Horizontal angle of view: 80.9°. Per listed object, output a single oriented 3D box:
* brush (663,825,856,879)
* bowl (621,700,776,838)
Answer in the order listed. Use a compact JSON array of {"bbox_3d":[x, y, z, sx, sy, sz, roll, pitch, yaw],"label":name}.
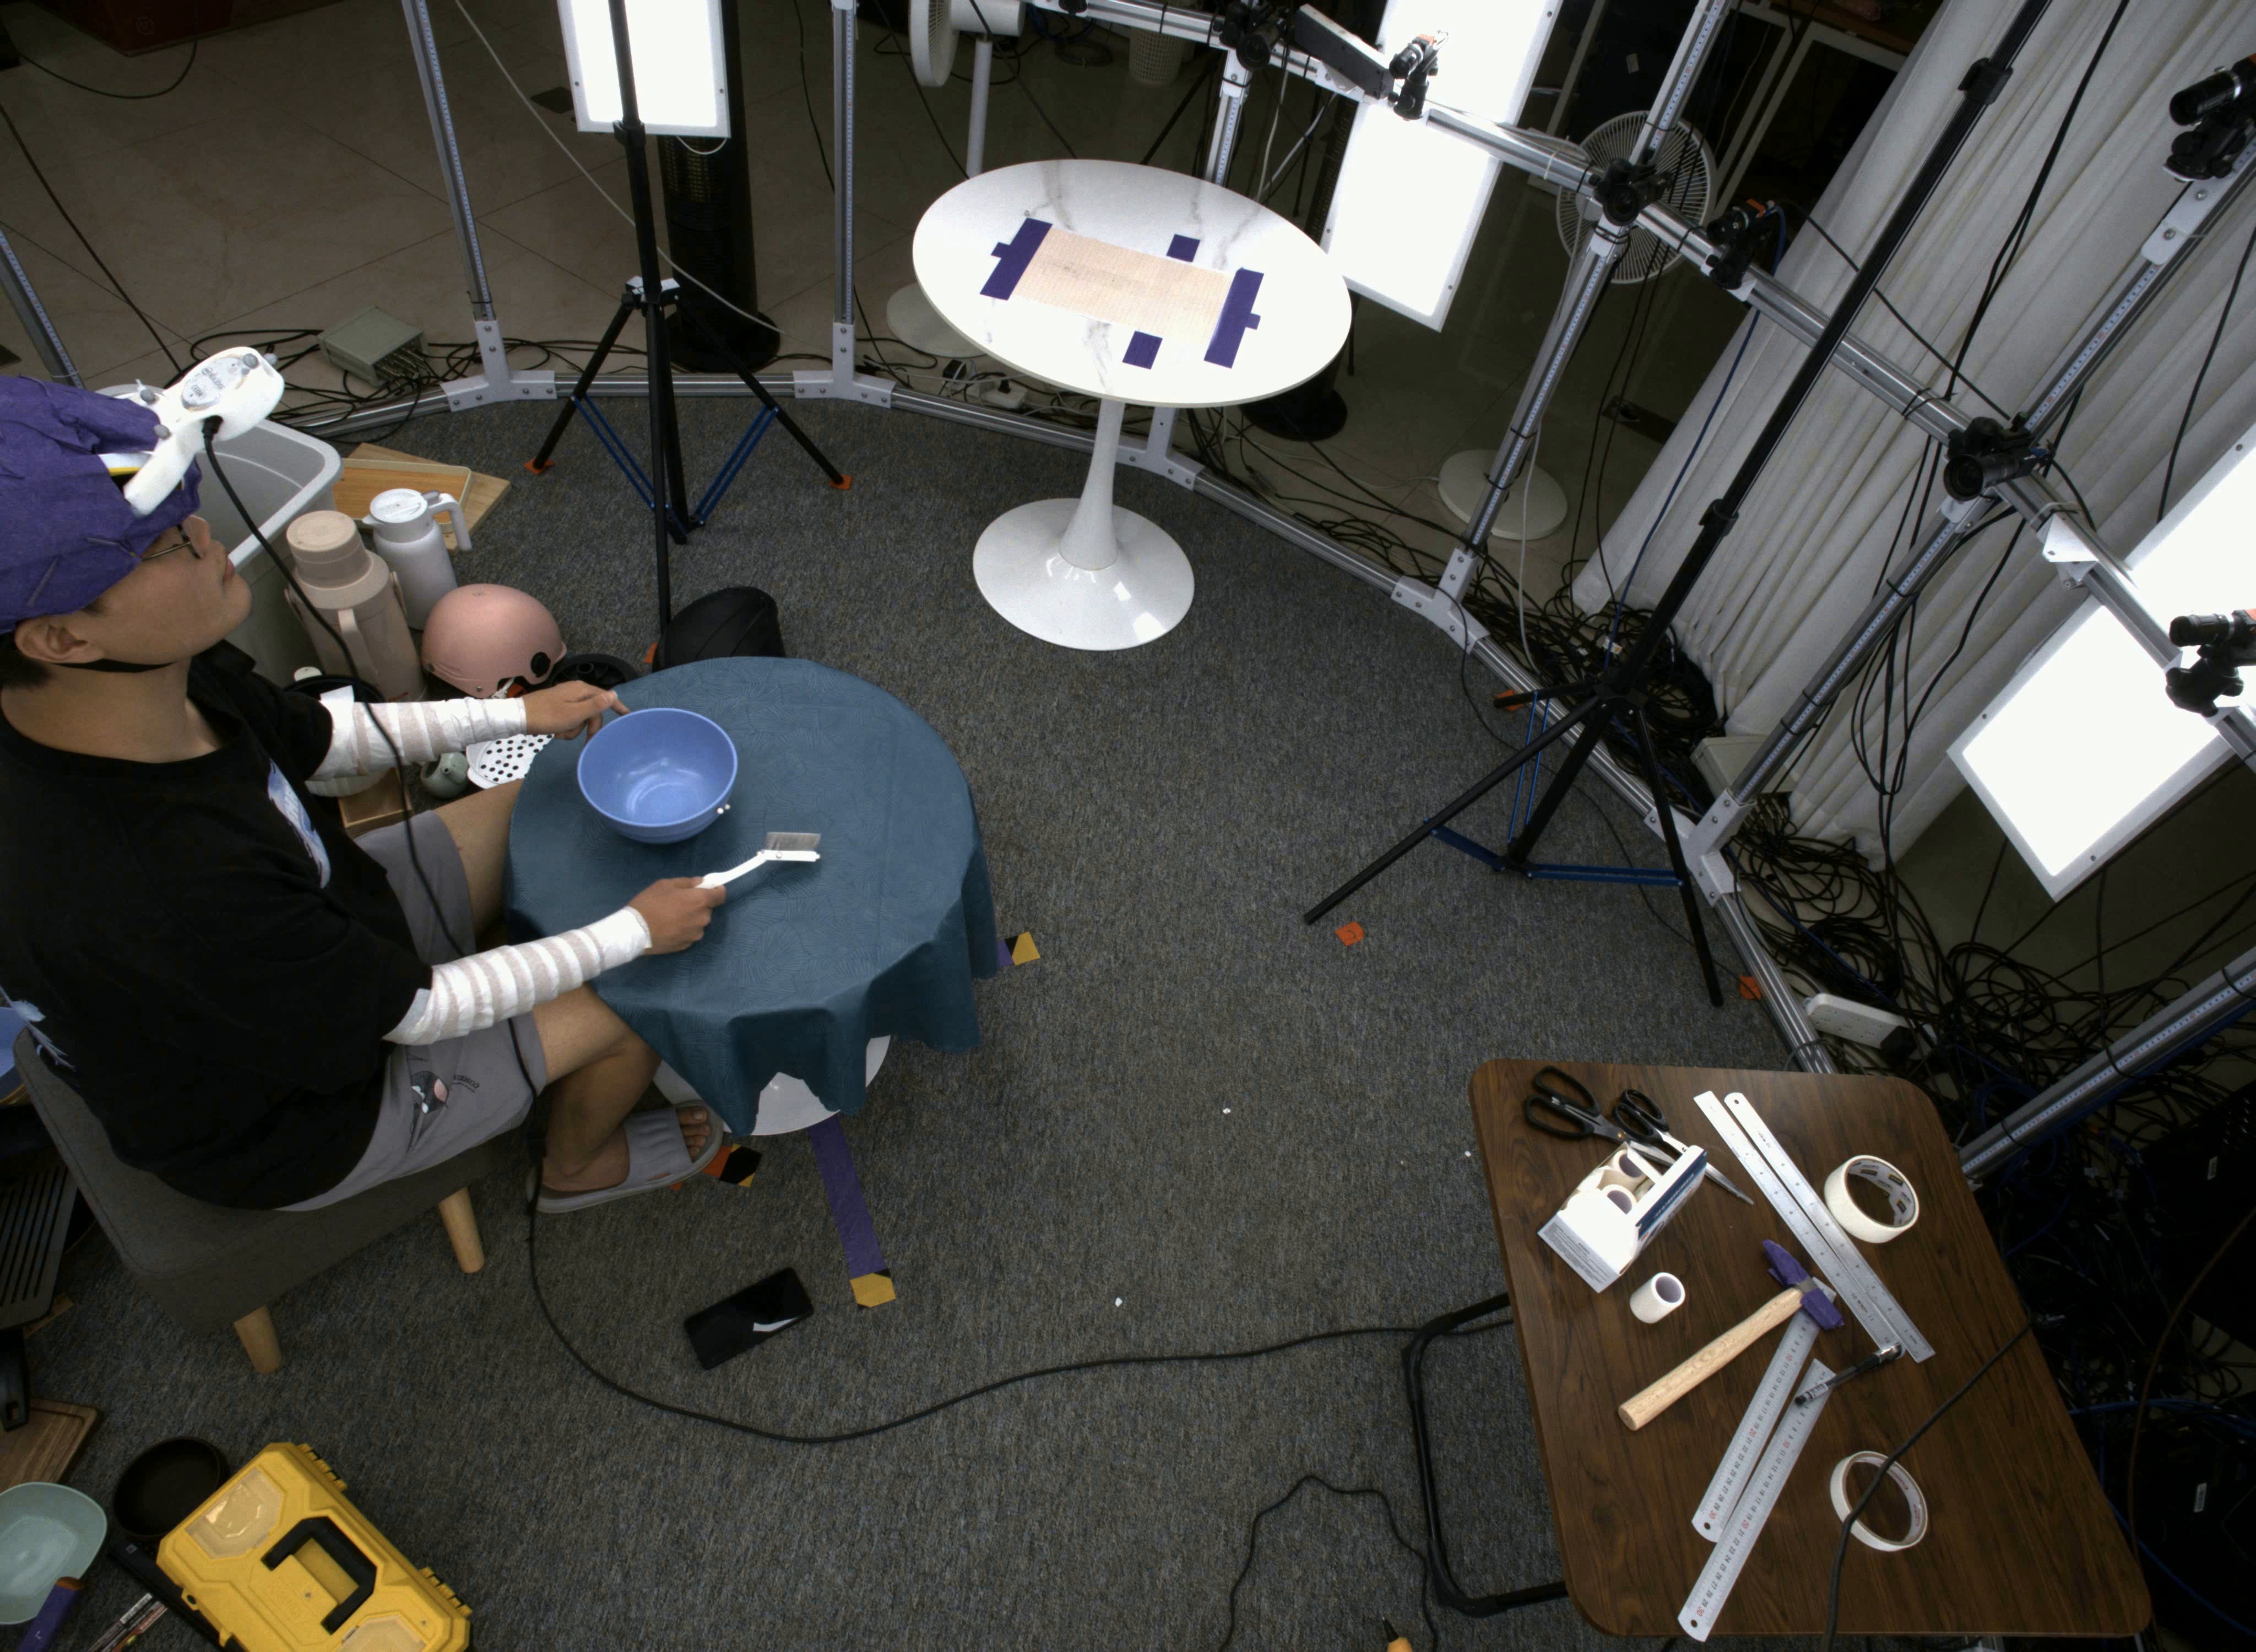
[{"bbox_3d":[-0.467,0.029,1.643,0.246,0.051,0.033,-6,17,-28],"label":"brush"},{"bbox_3d":[-0.558,-0.059,1.683,0.196,0.097,0.193,8,53,-9],"label":"bowl"}]
